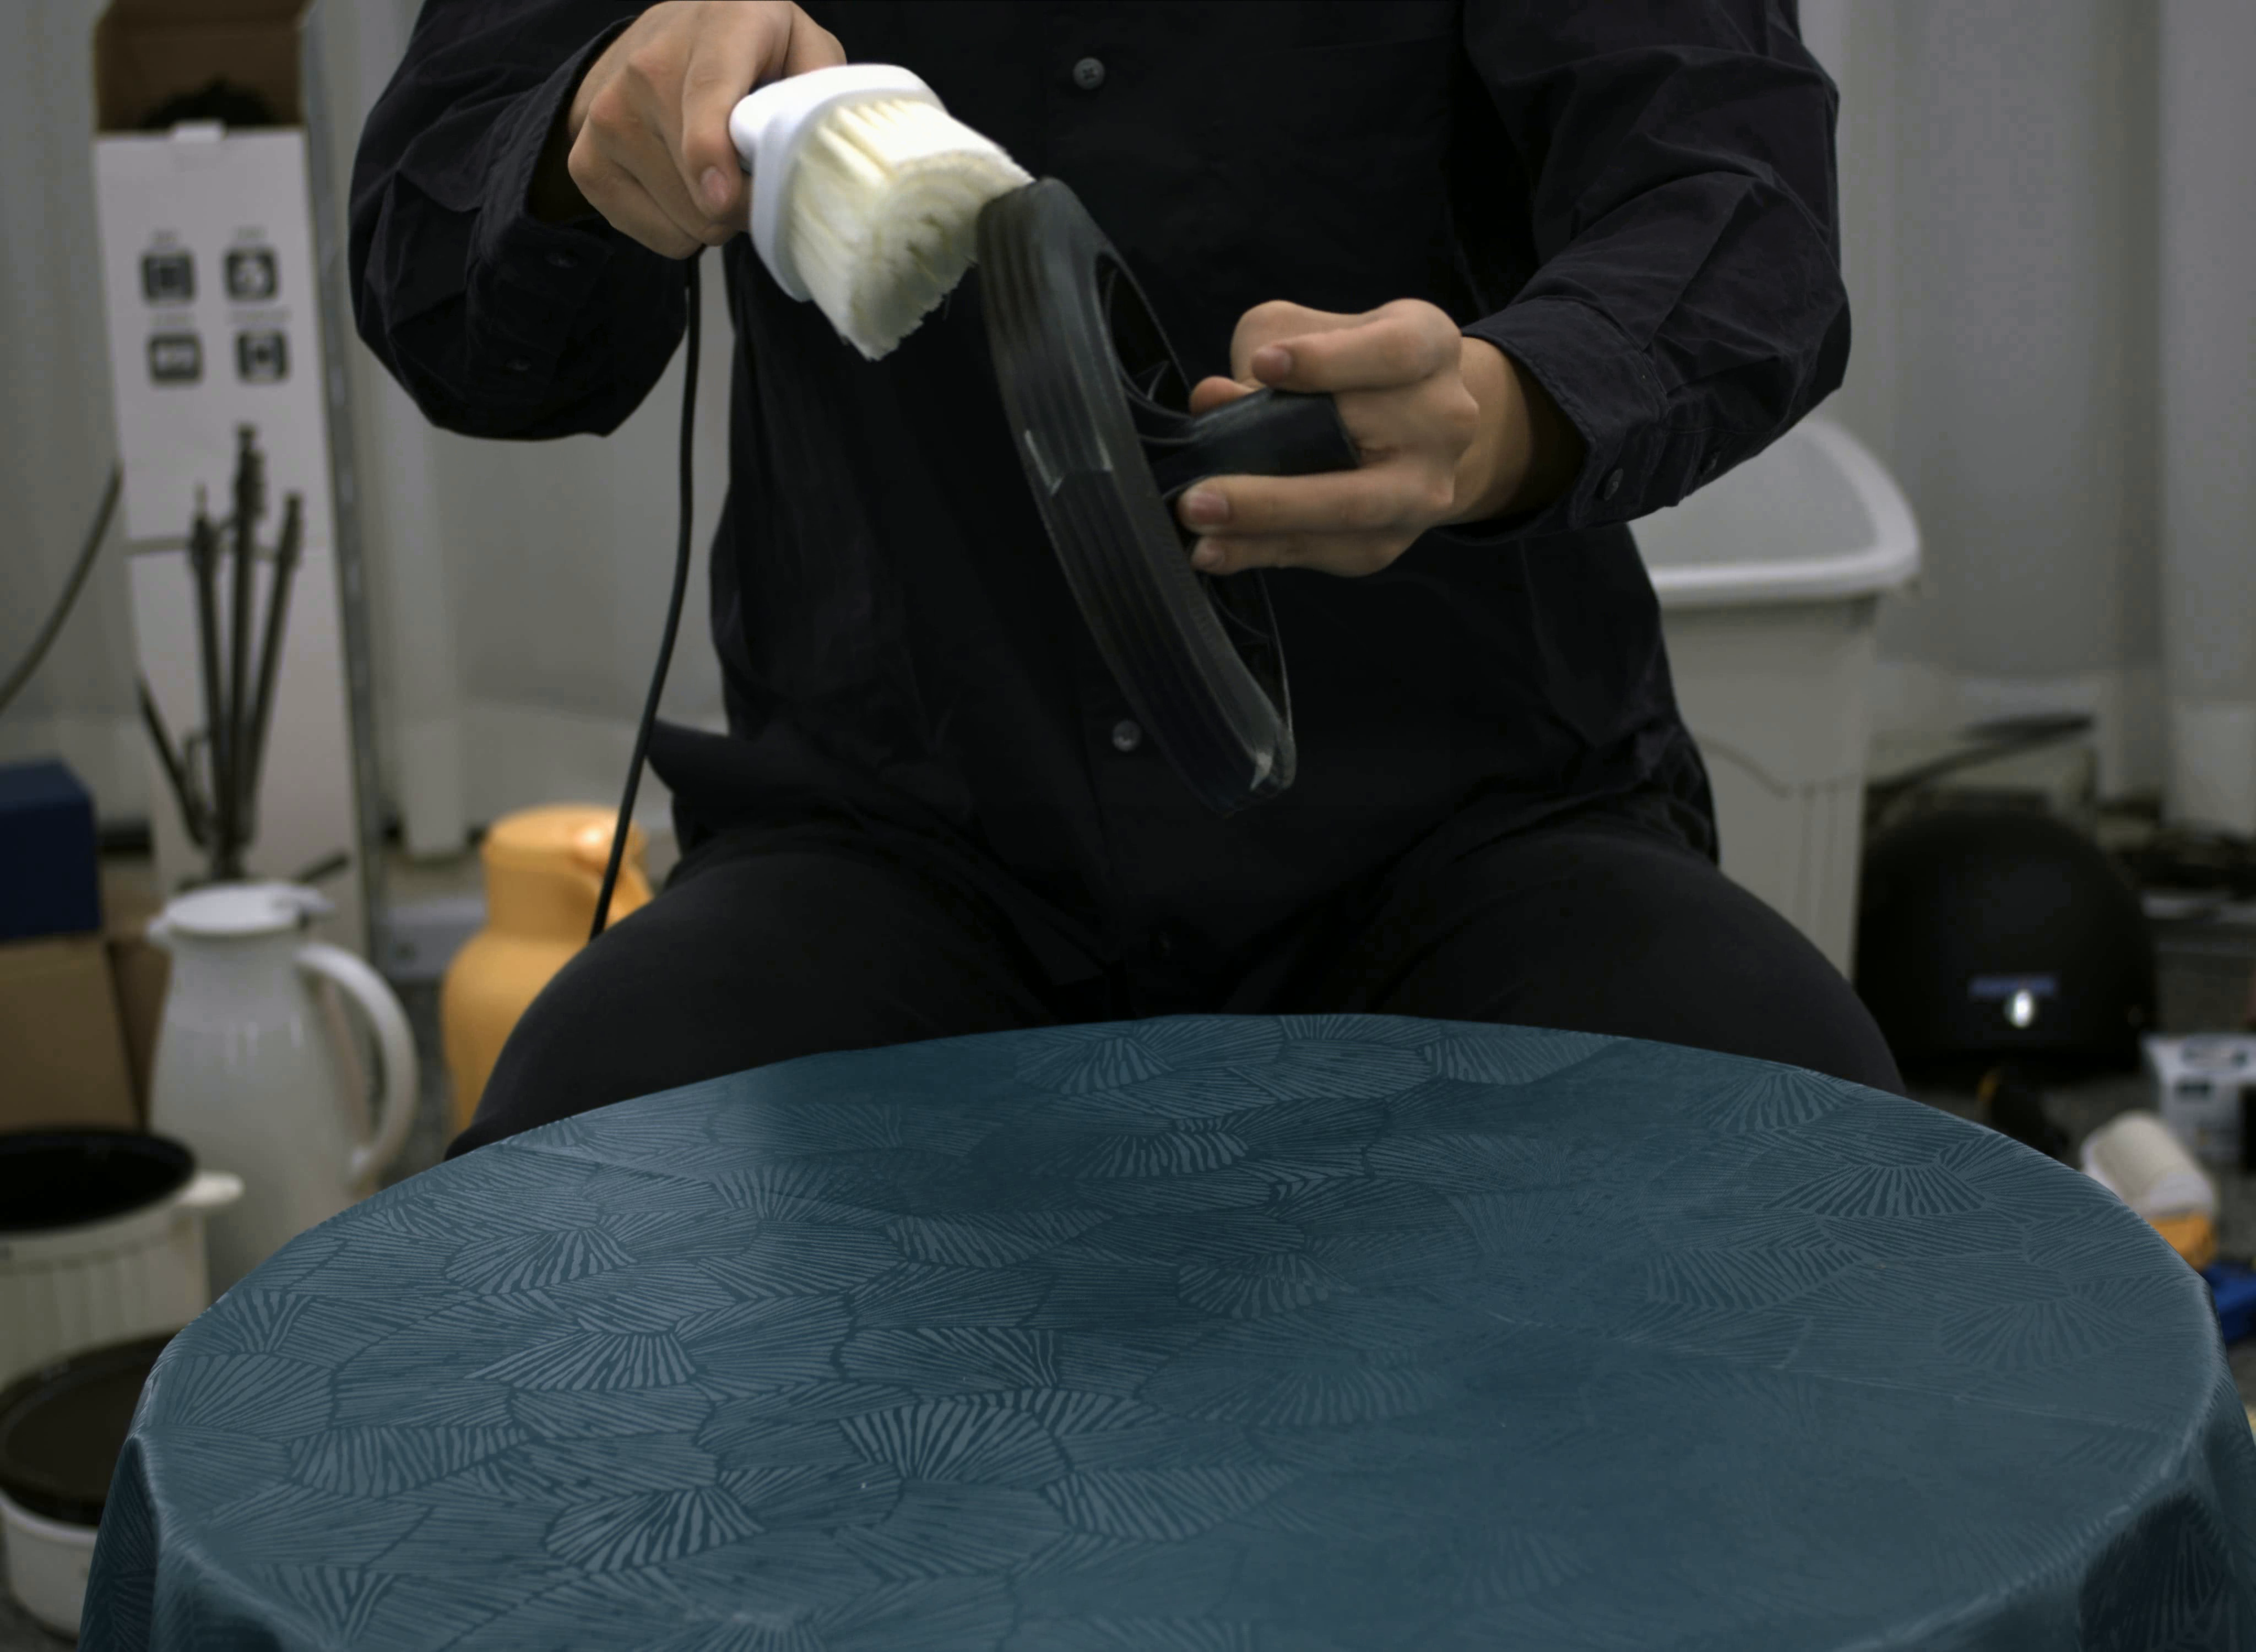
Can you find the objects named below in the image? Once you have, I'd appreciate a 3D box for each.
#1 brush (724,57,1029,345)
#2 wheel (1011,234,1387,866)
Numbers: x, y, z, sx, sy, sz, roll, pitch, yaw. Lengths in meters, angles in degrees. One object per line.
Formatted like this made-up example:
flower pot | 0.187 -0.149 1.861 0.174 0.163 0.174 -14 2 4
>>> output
brush | -0.073 -0.186 1.626 0.083 0.084 0.326 -13 5 -3
wheel | 0.032 -0.087 1.556 0.079 0.186 0.192 -23 22 9
